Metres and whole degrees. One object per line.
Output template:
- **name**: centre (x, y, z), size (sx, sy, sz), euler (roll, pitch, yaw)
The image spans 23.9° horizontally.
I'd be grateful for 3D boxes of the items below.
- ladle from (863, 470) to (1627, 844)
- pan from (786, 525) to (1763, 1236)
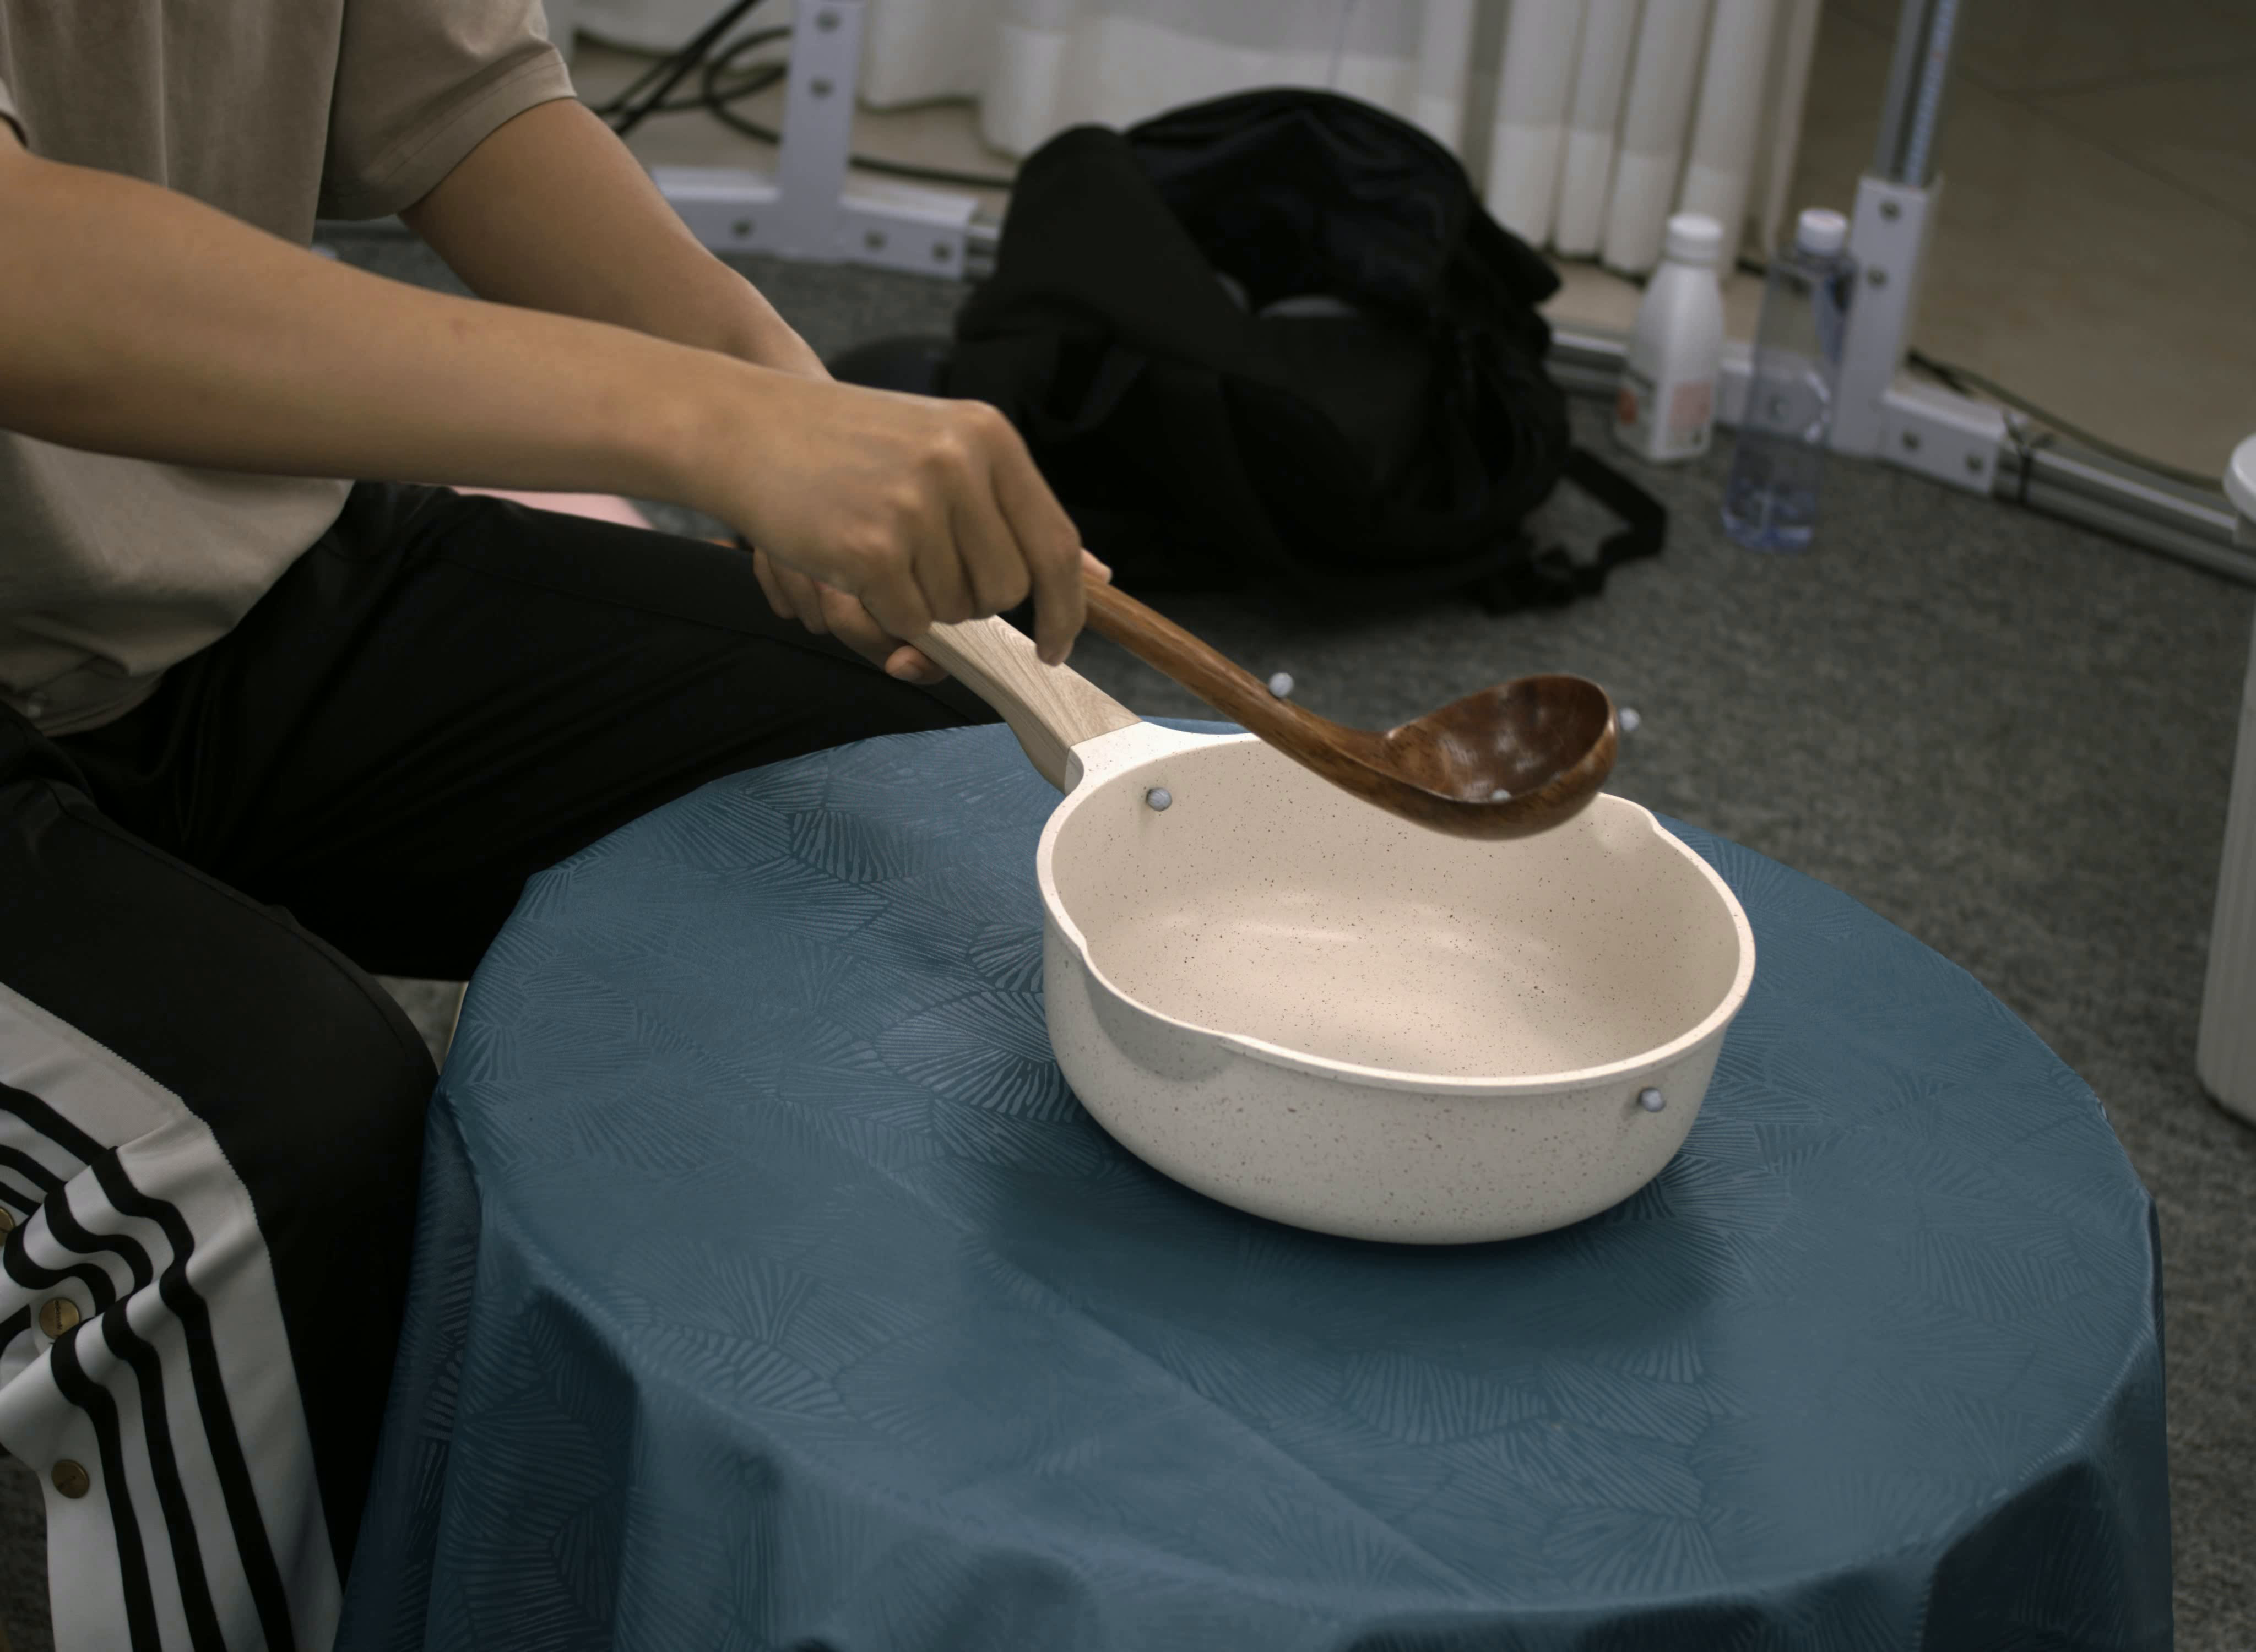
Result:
- **ladle**: centre (0.045, -0.071, 1.774), size (0.272, 0.076, 0.082), euler (30, 12, -20)
- **pan**: centre (0.028, 0.015, 1.915), size (0.262, 0.101, 0.438), euler (-21, 38, -40)
